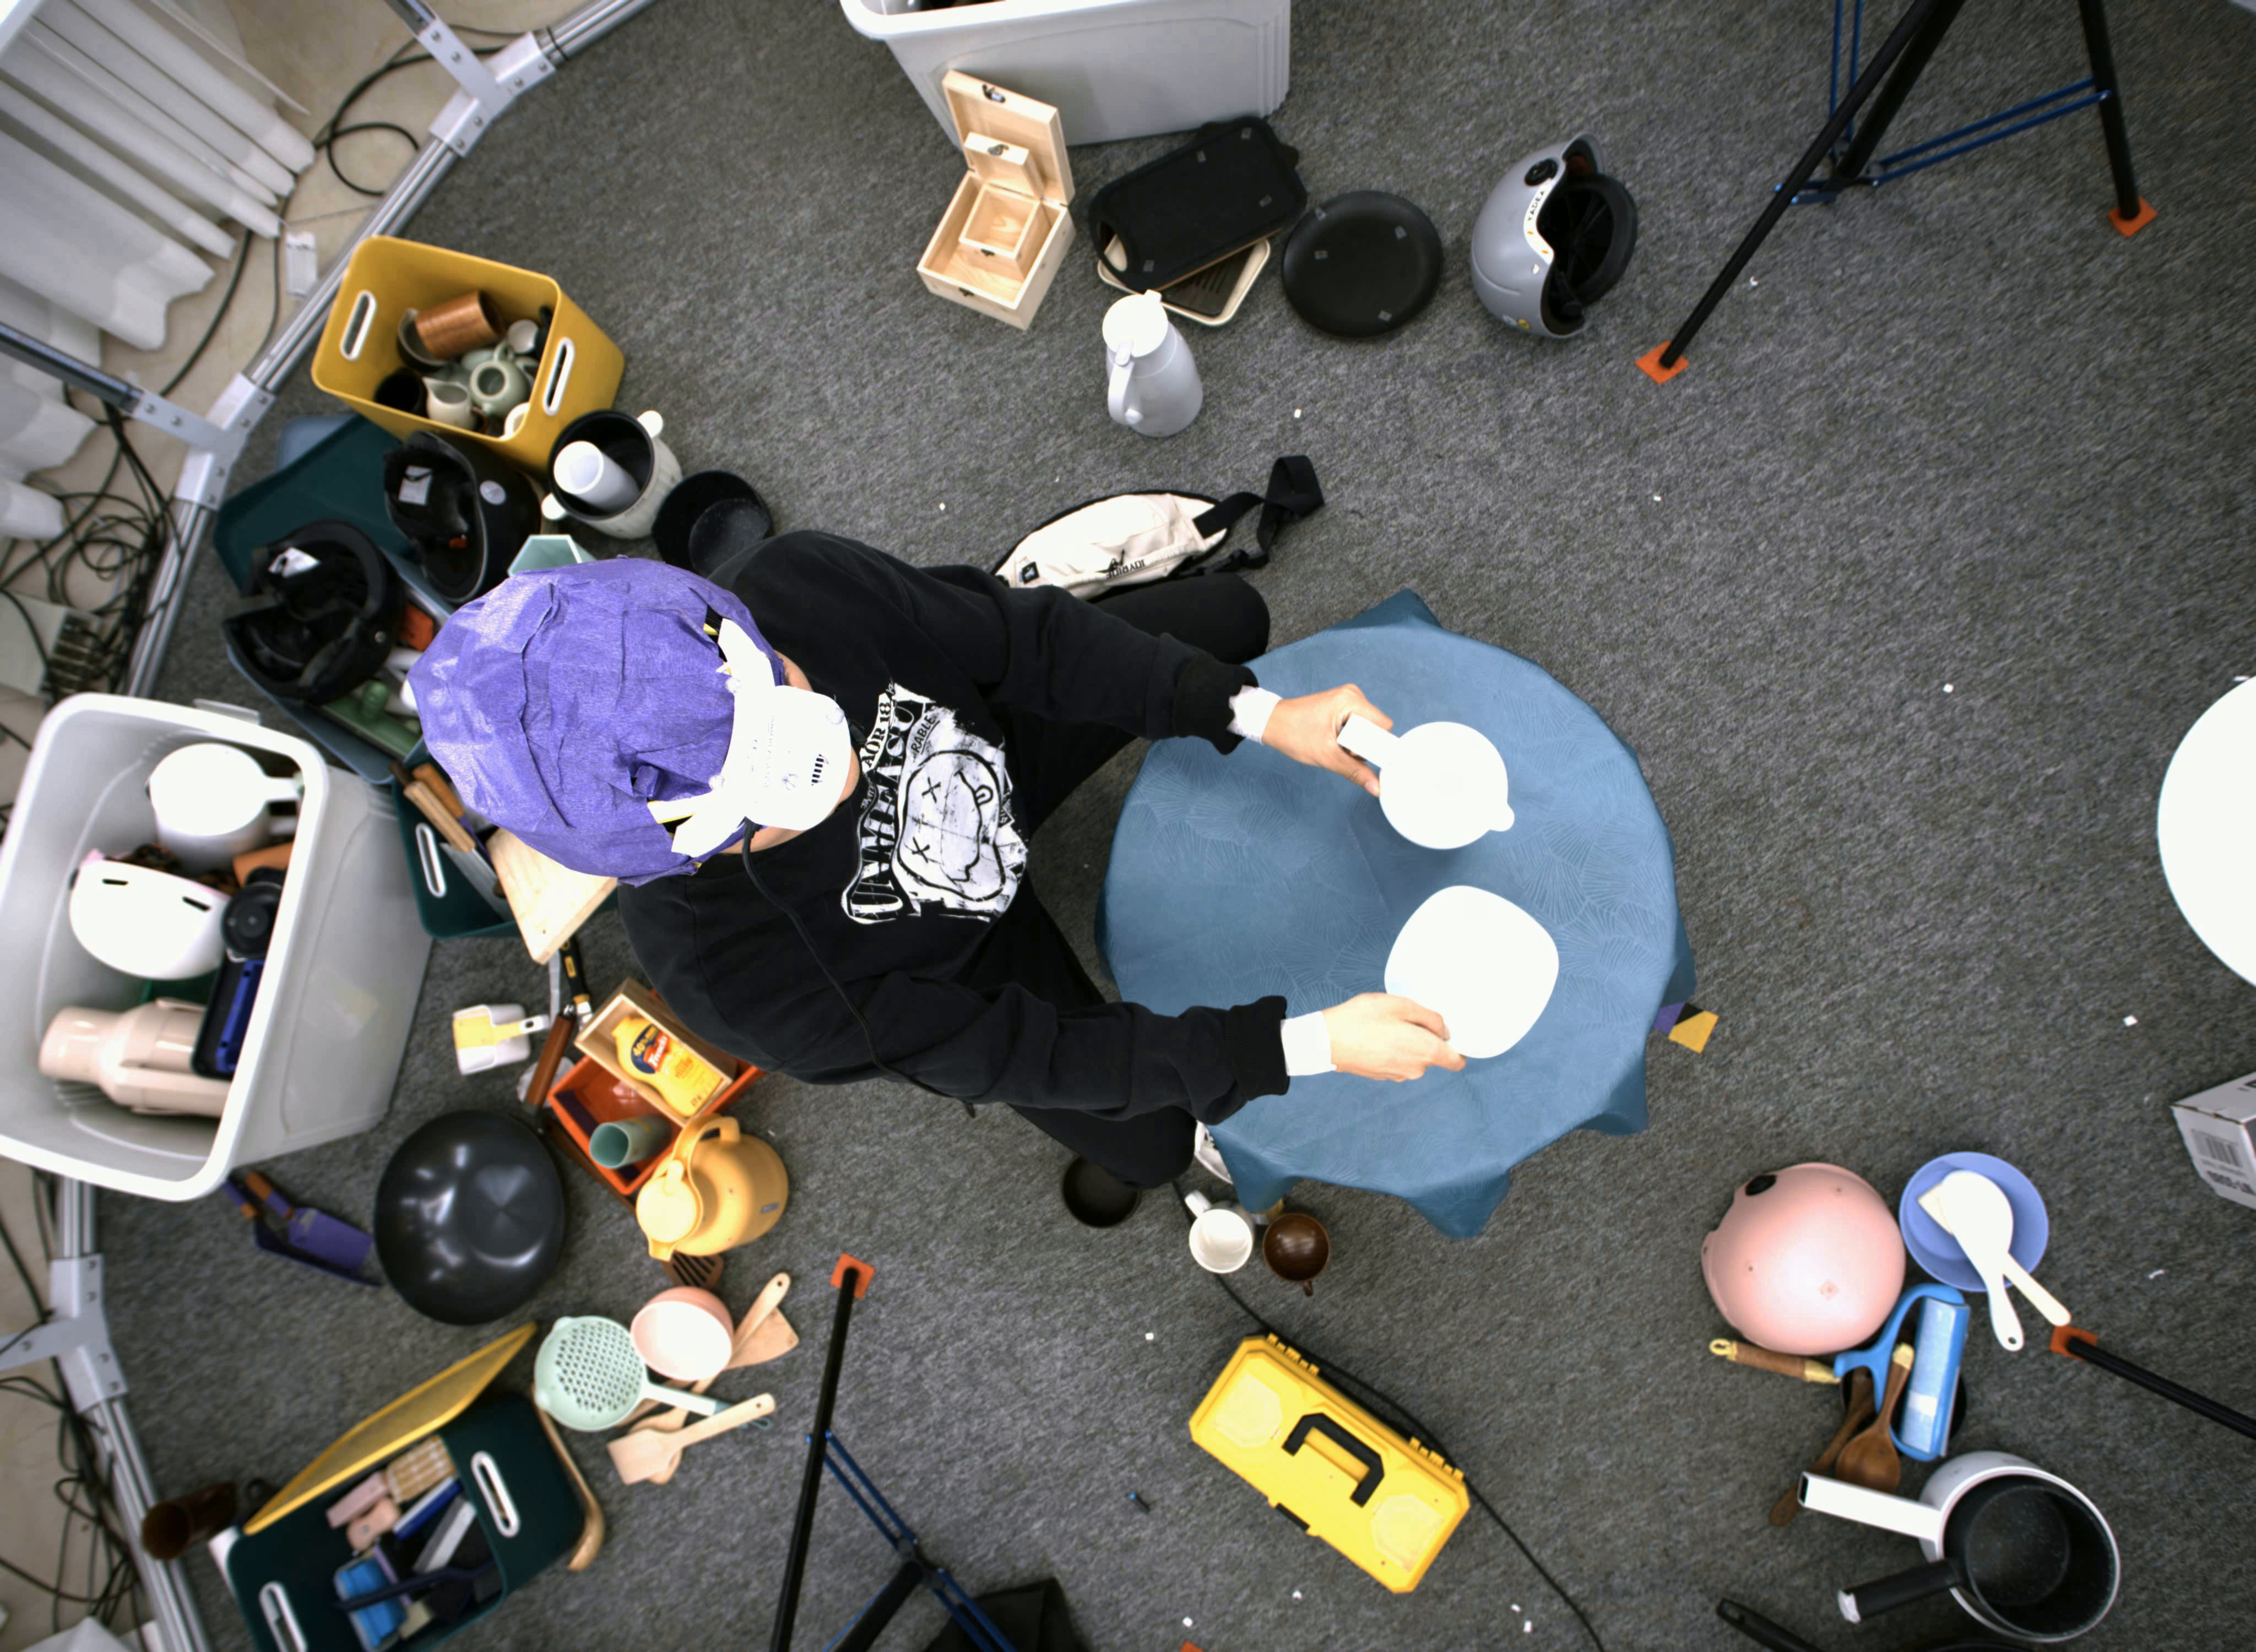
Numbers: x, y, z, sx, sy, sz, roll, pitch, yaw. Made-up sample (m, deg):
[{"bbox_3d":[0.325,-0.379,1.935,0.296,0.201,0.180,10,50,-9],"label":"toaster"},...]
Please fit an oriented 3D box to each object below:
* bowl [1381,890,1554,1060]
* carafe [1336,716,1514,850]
[{"bbox_3d":[0.305,0.132,1.246,0.152,0.058,0.151,0,89,12],"label":"bowl"},{"bbox_3d":[0.283,-0.047,1.324,0.172,0.267,0.125,30,99,9],"label":"carafe"}]
